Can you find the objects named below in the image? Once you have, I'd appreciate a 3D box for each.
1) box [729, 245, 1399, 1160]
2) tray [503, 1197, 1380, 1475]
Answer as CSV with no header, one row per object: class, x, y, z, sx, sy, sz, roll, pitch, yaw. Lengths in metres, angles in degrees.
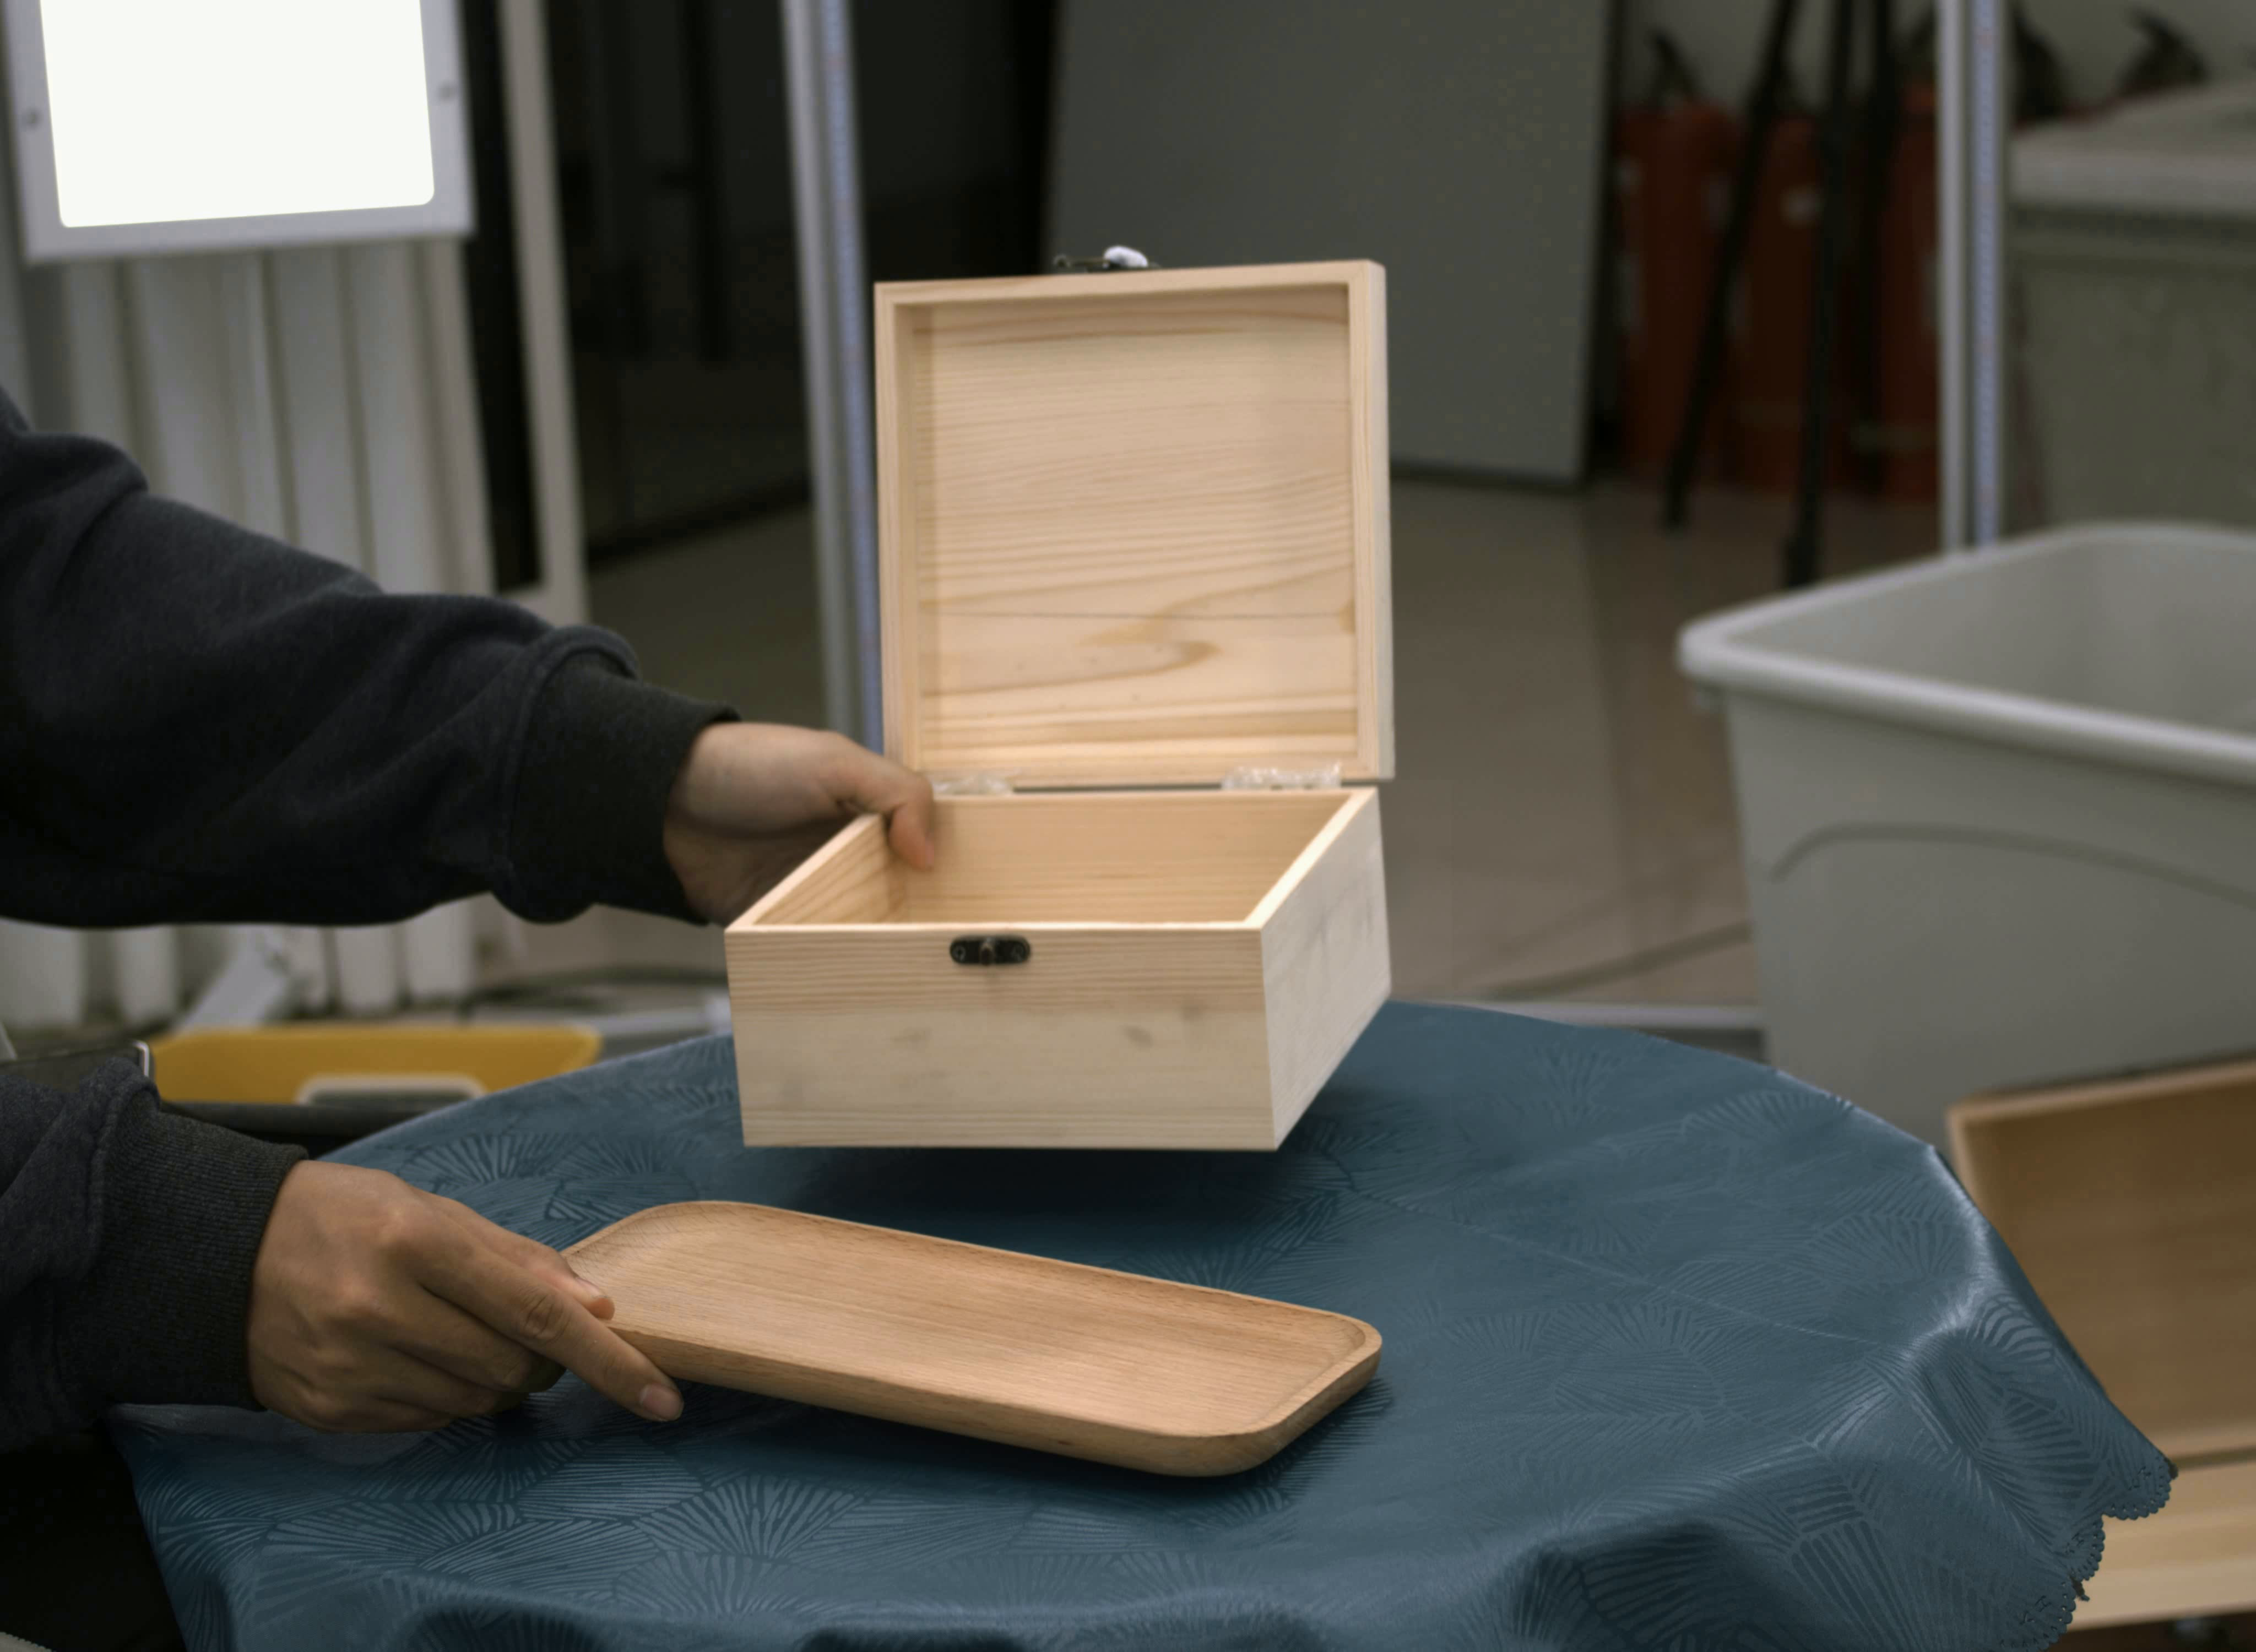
box,-0.019,-0.047,1.817,0.181,0.256,0.263,-4,11,16
tray,-0.055,0.148,1.585,0.251,0.023,0.128,8,11,26
